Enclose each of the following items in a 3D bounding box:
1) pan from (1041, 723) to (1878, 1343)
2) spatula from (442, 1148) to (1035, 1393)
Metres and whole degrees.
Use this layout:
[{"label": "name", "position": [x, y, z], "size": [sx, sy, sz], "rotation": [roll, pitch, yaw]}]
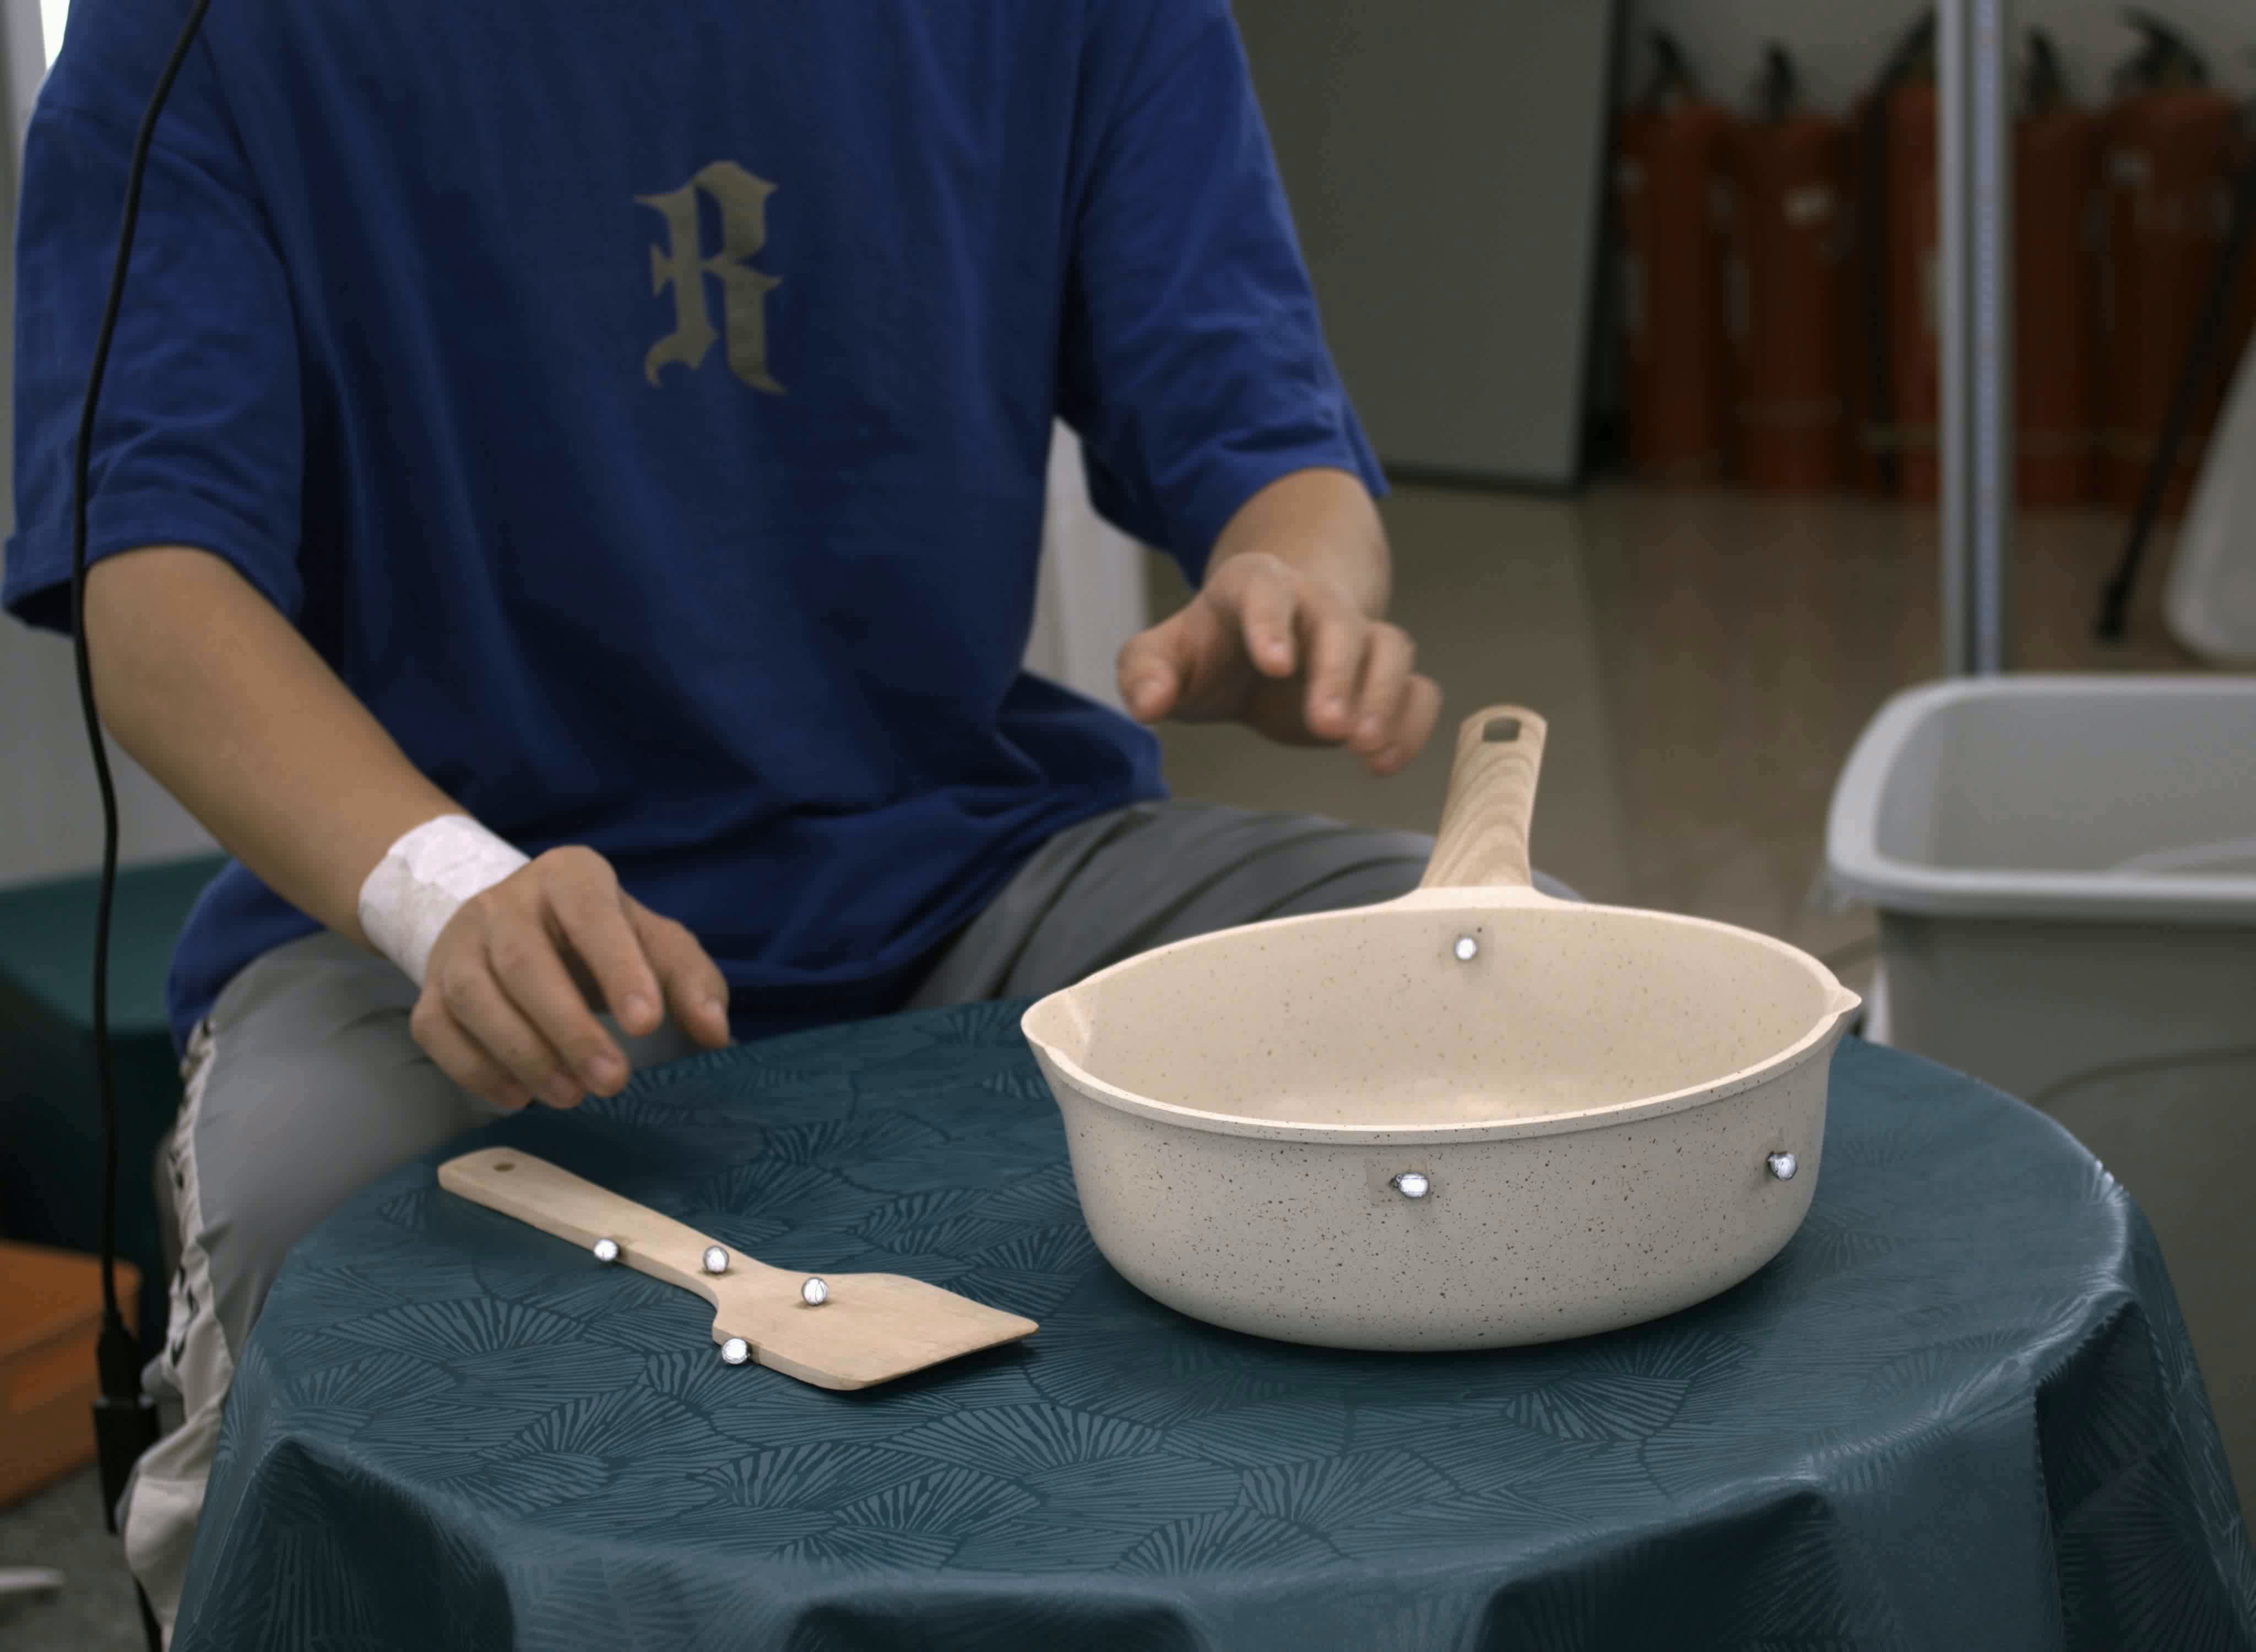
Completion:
[{"label": "pan", "position": [0.115, 0.063, 1.763], "size": [0.261, 0.103, 0.434], "rotation": [-4, 13, 8]}, {"label": "spatula", "position": [-0.139, 0.138, 1.722], "size": [0.071, 0.011, 0.296], "rotation": [-15, 18, -34]}]
